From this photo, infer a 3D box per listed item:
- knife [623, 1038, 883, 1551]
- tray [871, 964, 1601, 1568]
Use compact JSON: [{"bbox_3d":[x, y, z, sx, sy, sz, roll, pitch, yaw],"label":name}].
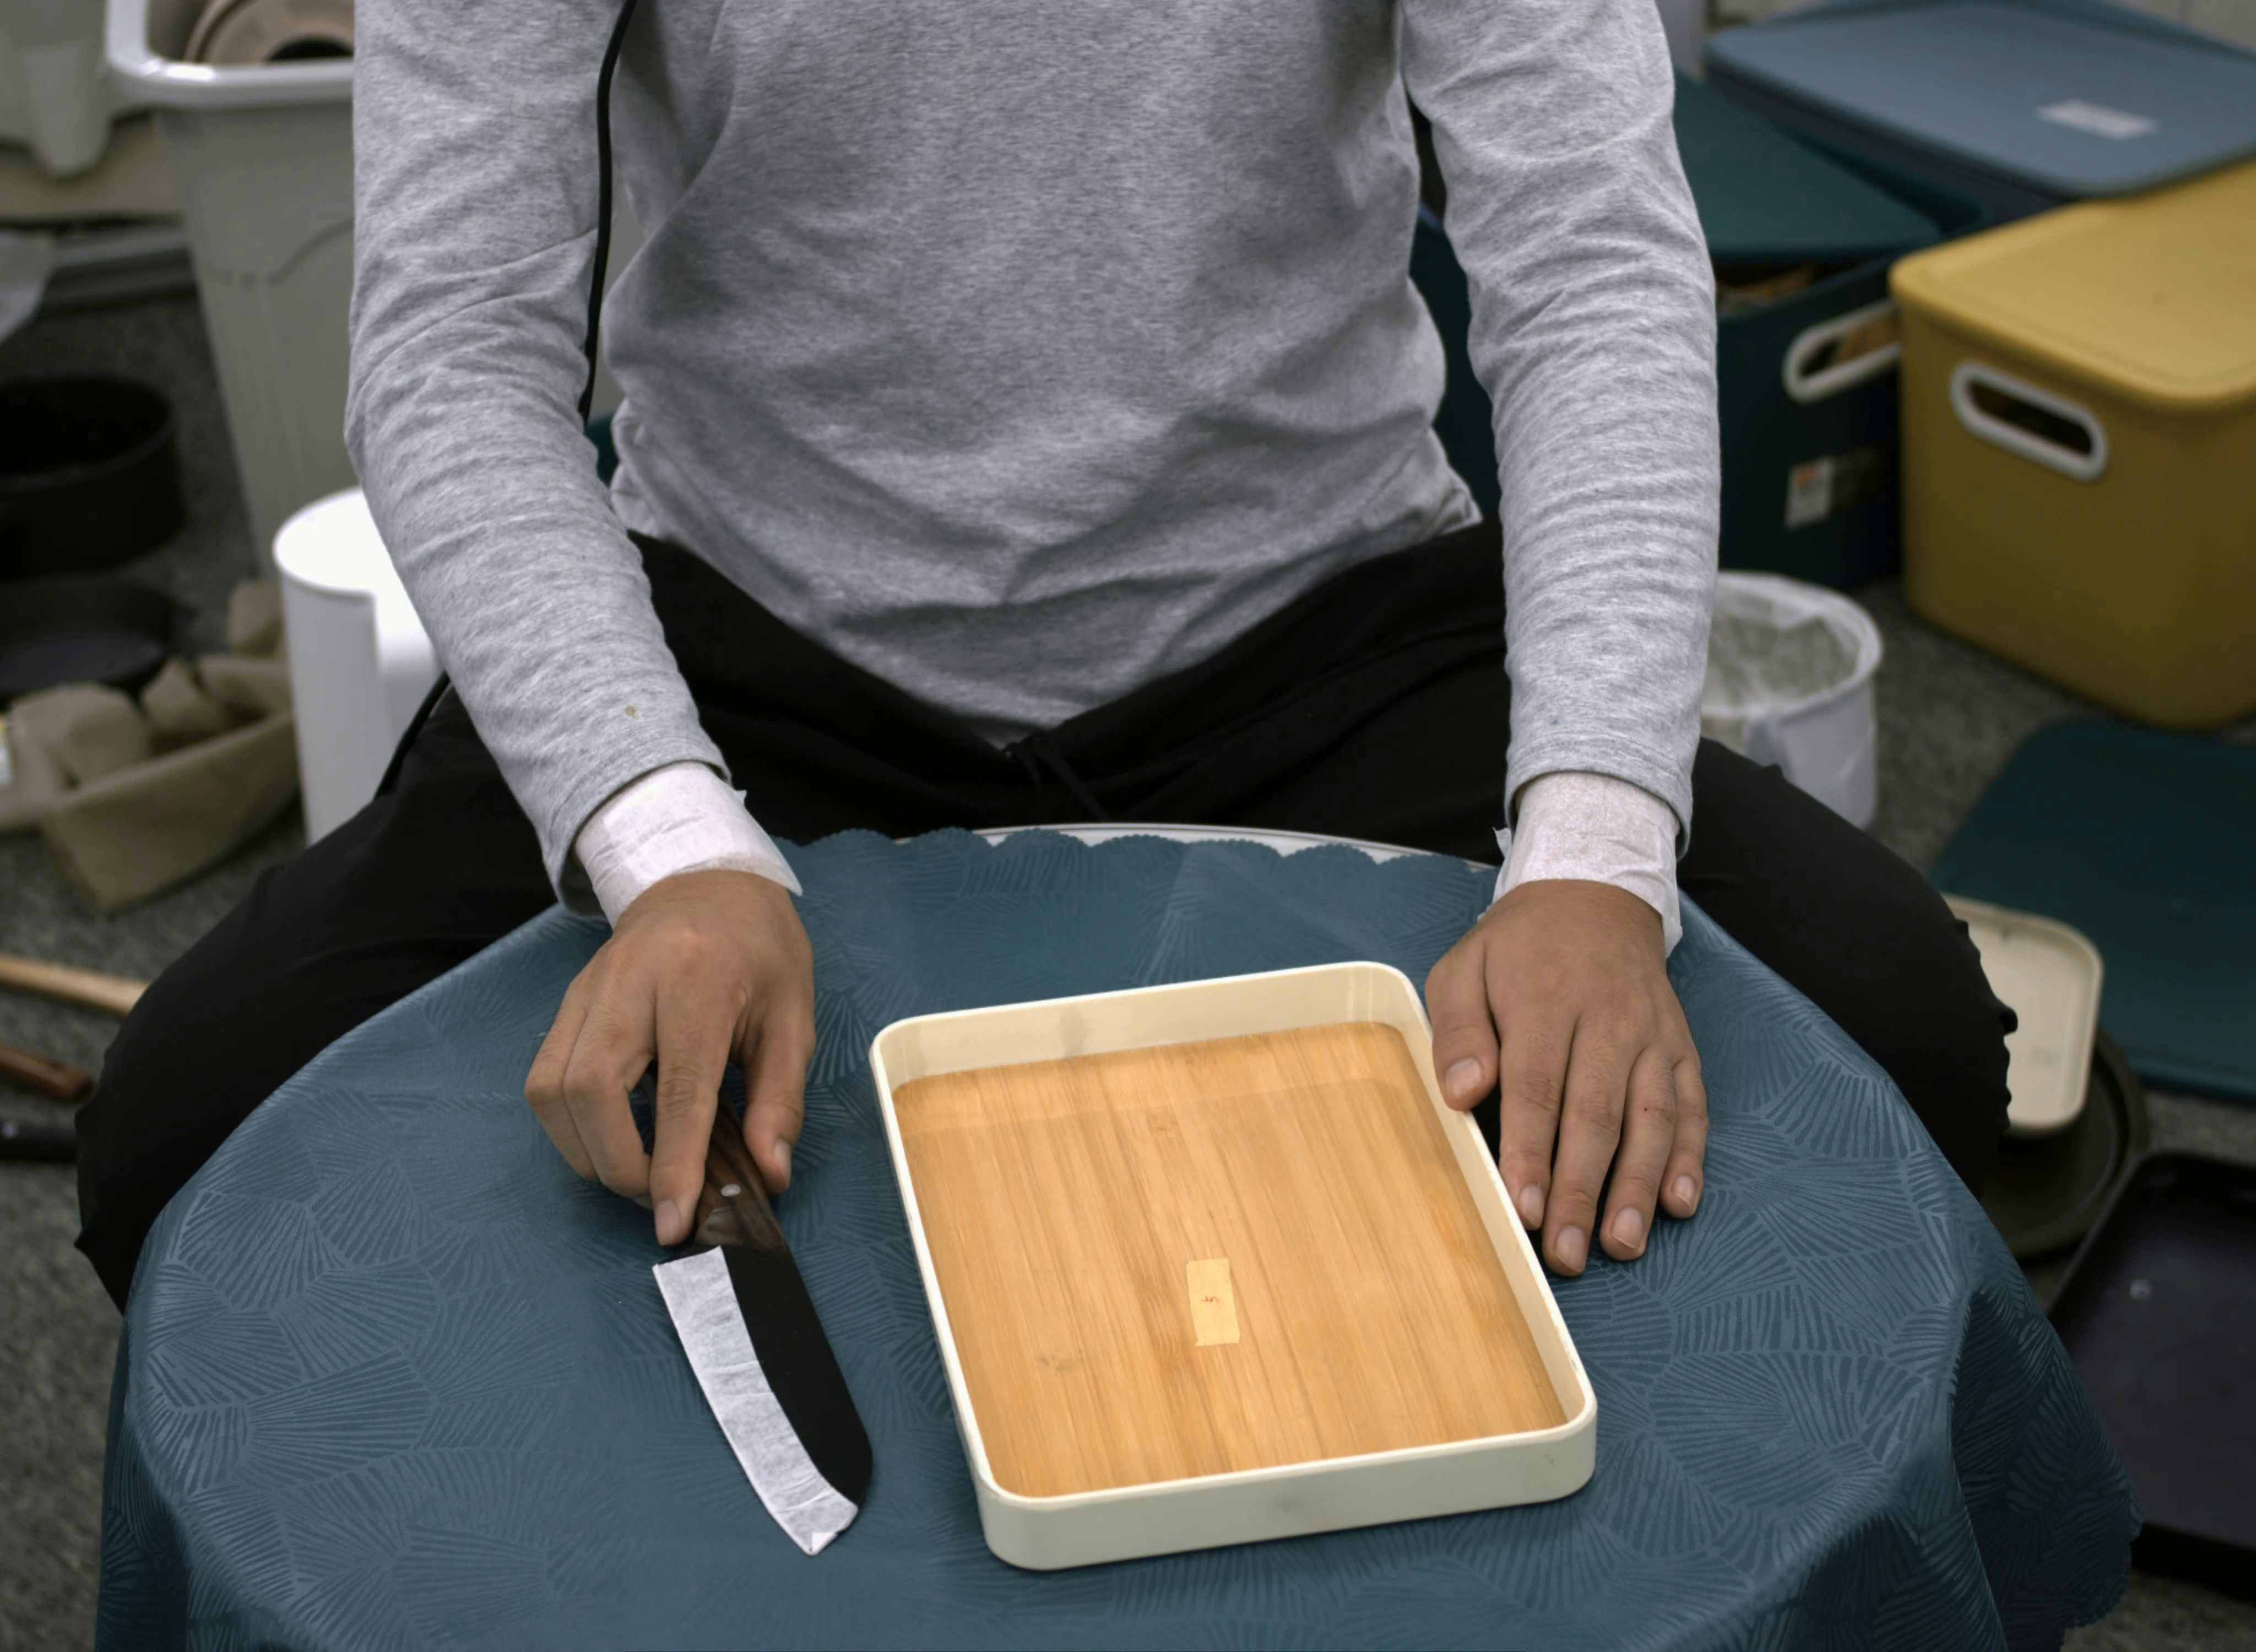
[{"bbox_3d":[-0.125,0.149,1.805,0.050,0.020,0.292,-14,31,-8],"label":"knife"},{"bbox_3d":[0.028,0.135,1.805,0.191,0.027,0.304,-7,27,-7],"label":"tray"}]
